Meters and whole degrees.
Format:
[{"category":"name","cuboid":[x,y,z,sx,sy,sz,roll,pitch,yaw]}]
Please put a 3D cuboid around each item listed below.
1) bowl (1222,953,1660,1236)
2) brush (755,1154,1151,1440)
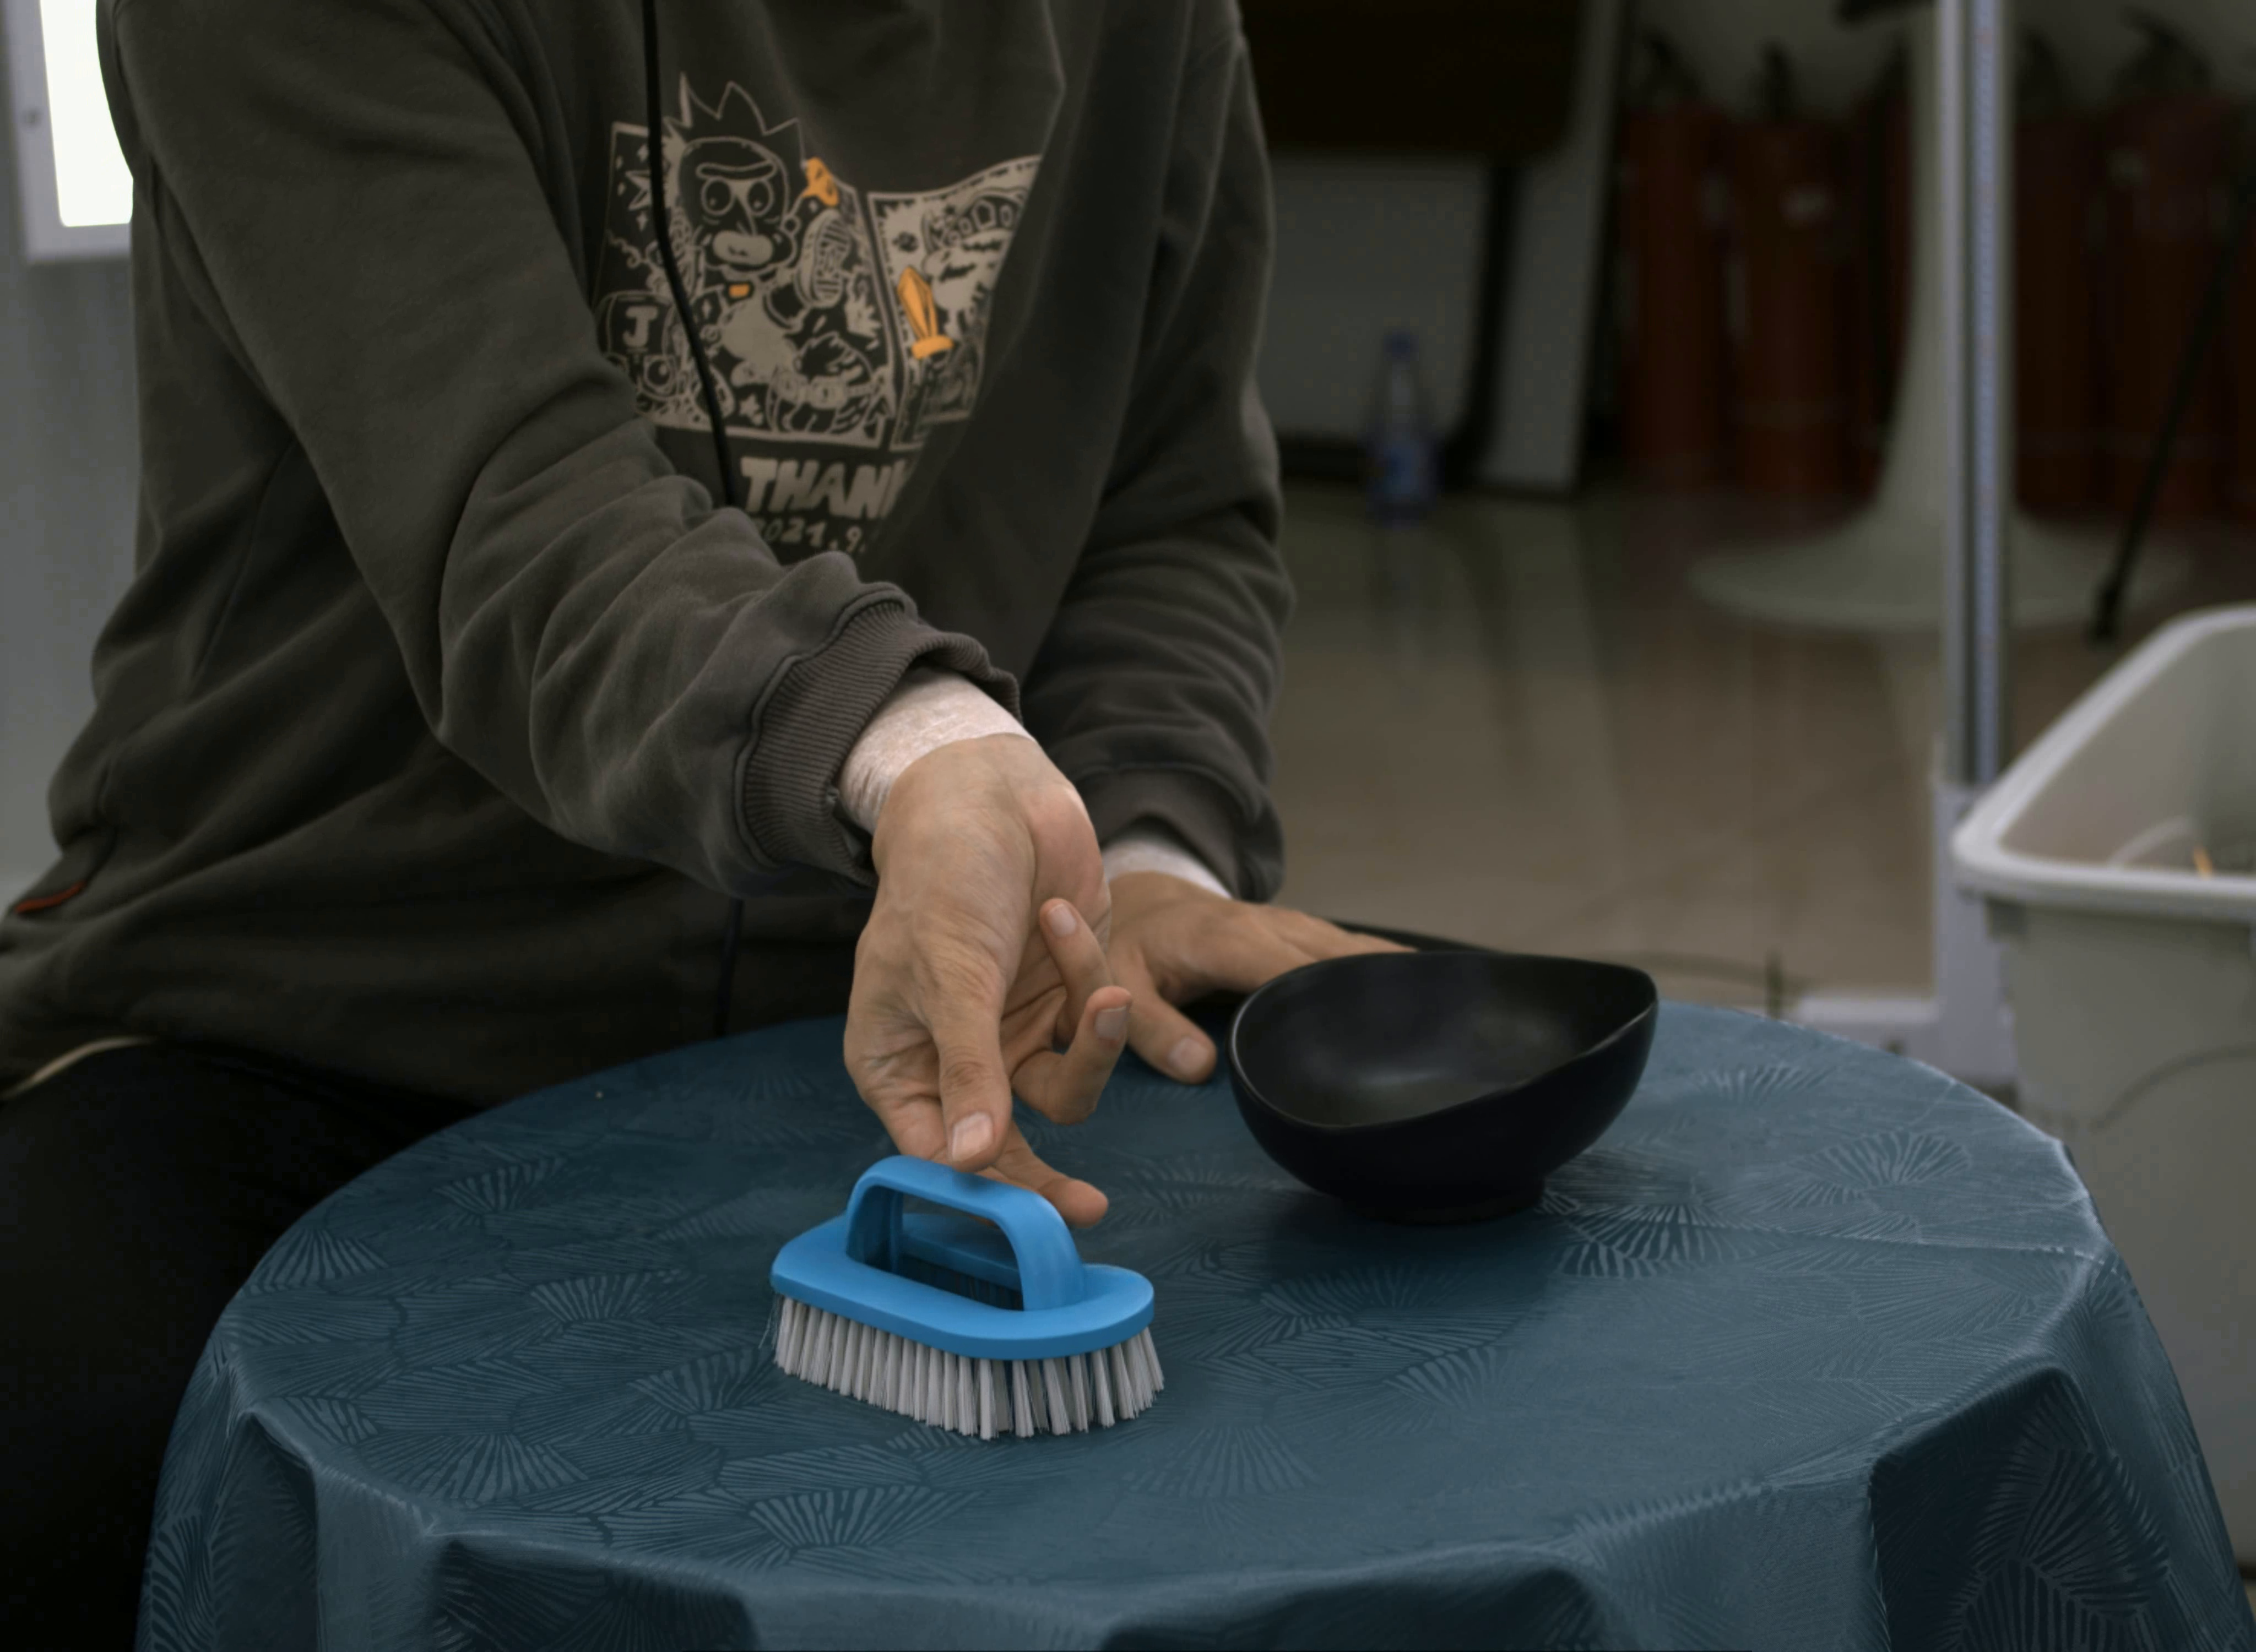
[{"category":"bowl","cuboid":[0.103,0.091,1.740,0.137,0.067,0.168,2,16,27]},{"category":"brush","cuboid":[-0.050,0.133,1.601,0.082,0.064,0.143,-8,14,-38]}]
